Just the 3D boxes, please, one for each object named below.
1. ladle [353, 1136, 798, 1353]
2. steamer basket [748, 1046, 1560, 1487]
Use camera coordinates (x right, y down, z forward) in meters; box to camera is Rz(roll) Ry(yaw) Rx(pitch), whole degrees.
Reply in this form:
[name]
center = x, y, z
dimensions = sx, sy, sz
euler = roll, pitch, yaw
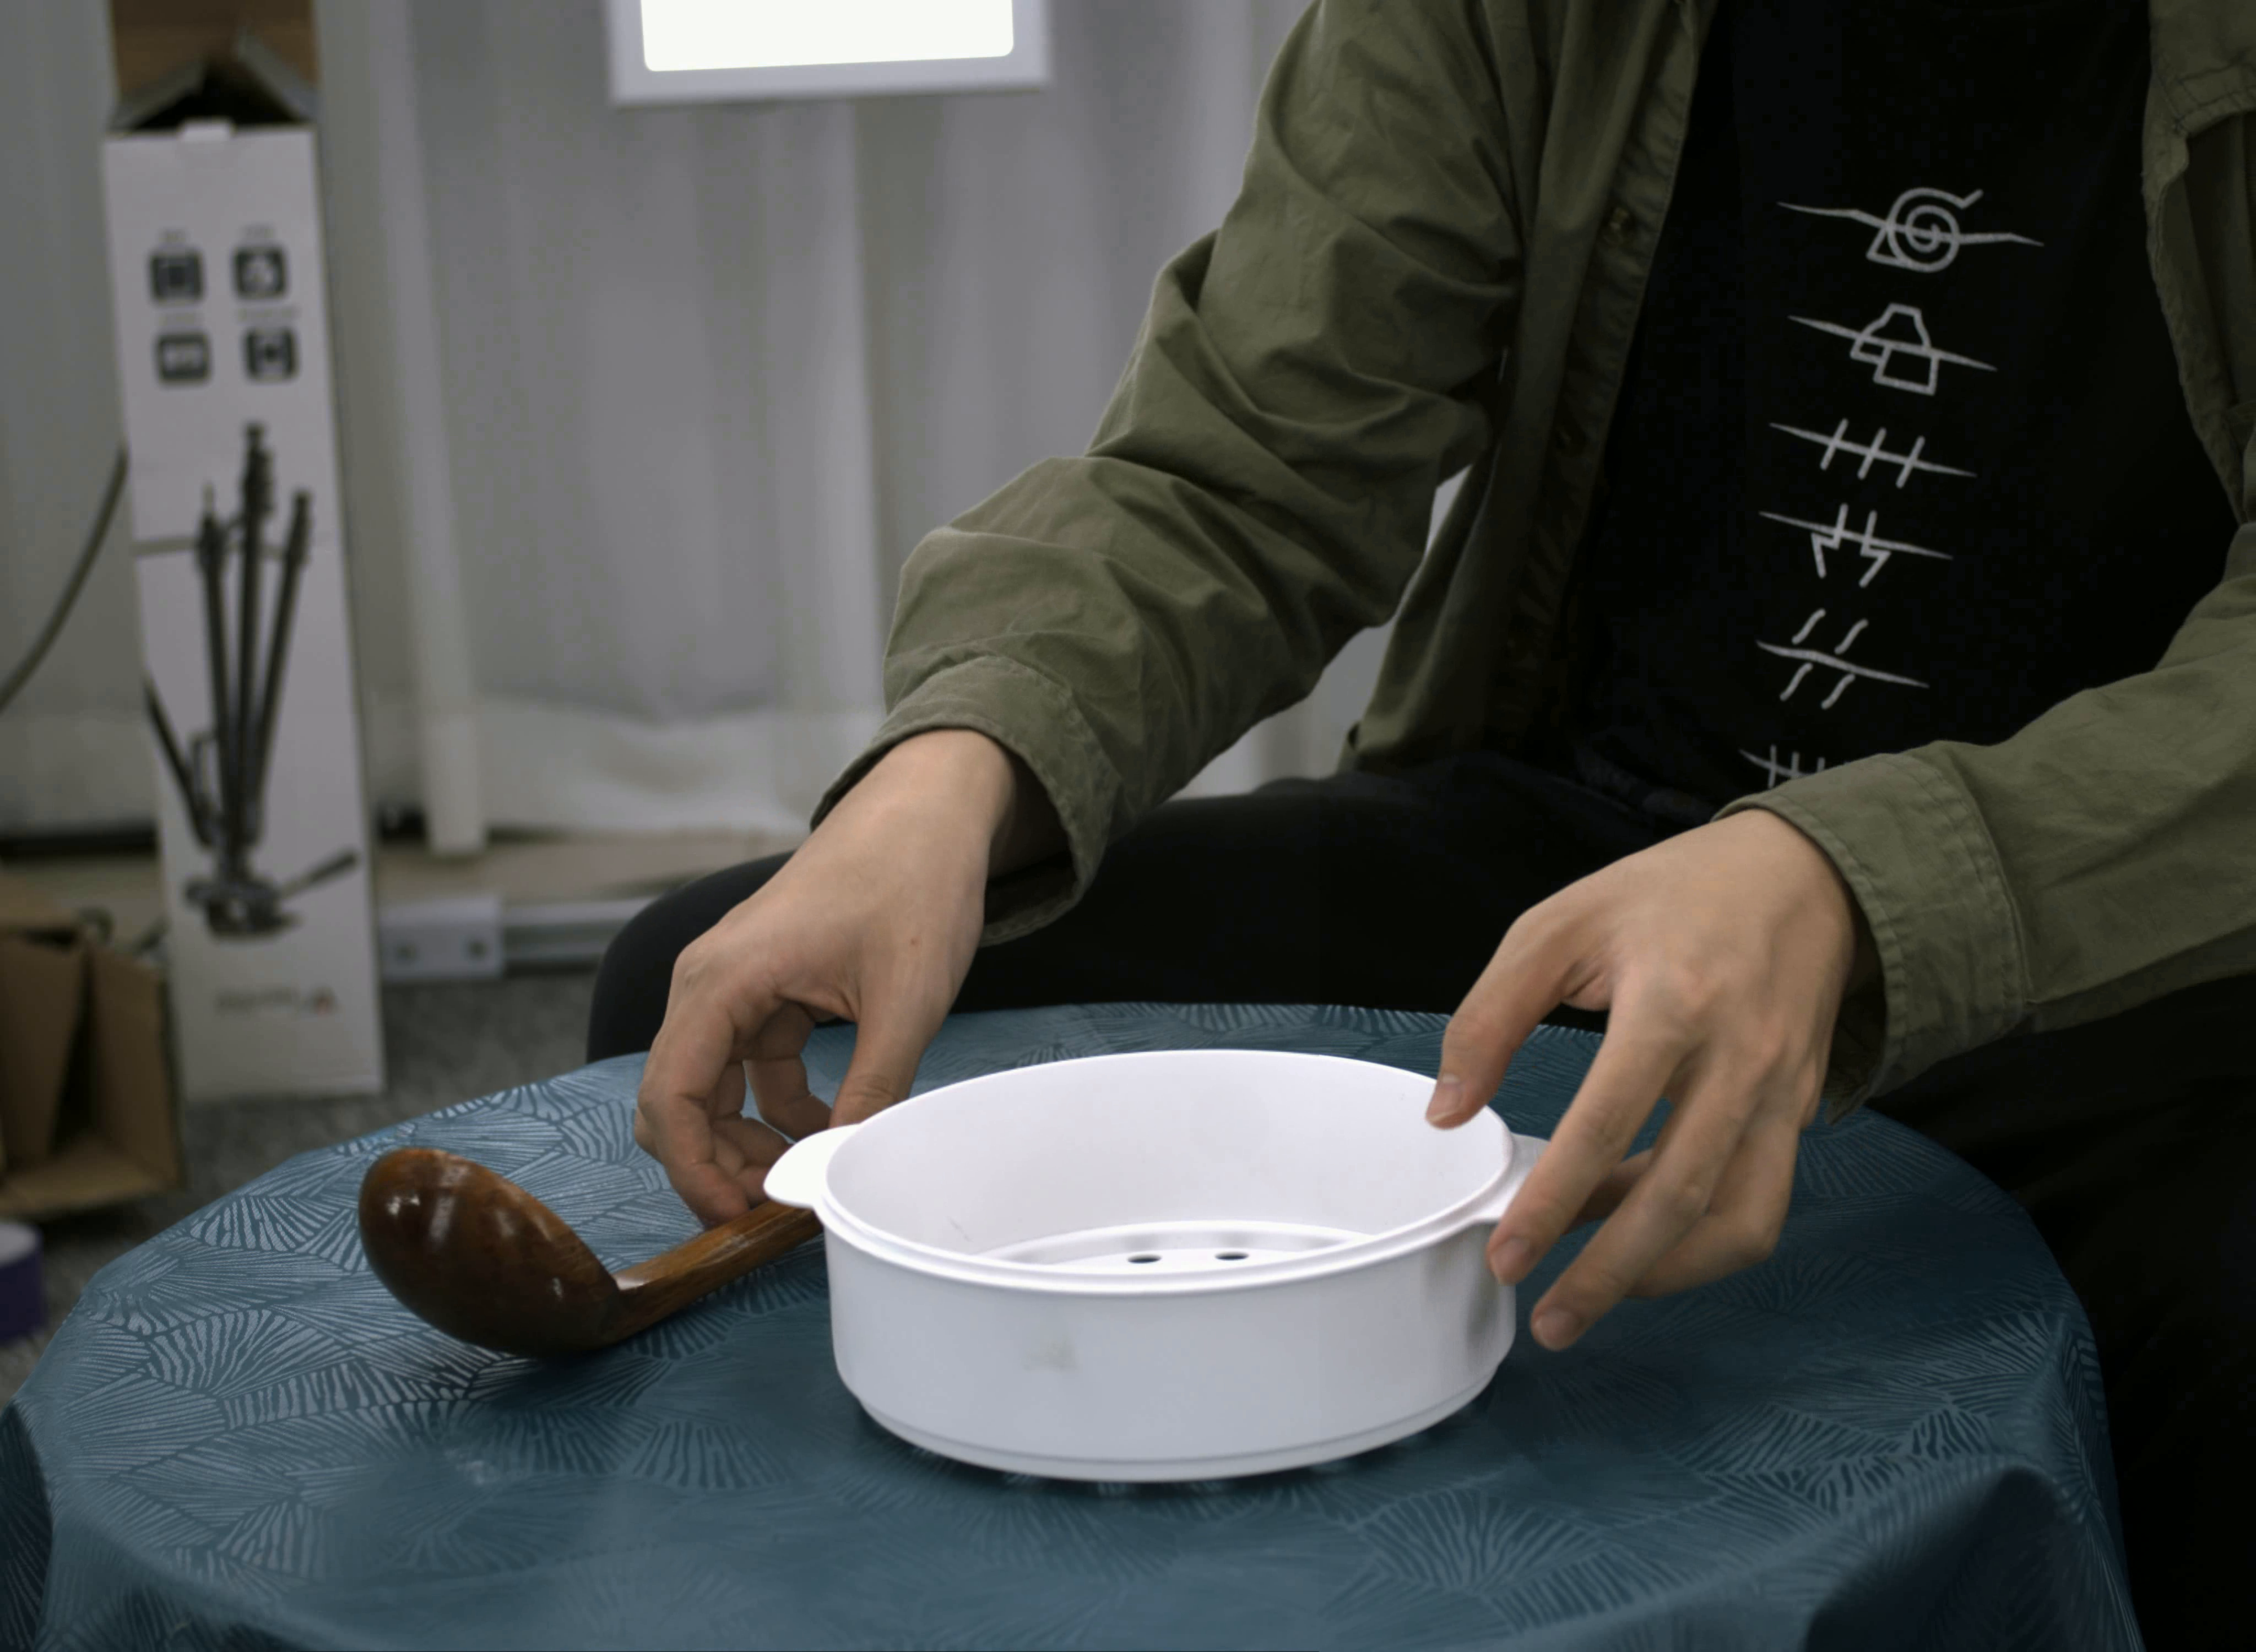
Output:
[ladle]
center = -0.118, 0.099, 1.652
dimensions = 0.082, 0.076, 0.273
euler = 6, 17, 41
[steamer basket]
center = 0.008, 0.125, 1.549
dimensions = 0.230, 0.069, 0.203
euler = 1, 16, 13
